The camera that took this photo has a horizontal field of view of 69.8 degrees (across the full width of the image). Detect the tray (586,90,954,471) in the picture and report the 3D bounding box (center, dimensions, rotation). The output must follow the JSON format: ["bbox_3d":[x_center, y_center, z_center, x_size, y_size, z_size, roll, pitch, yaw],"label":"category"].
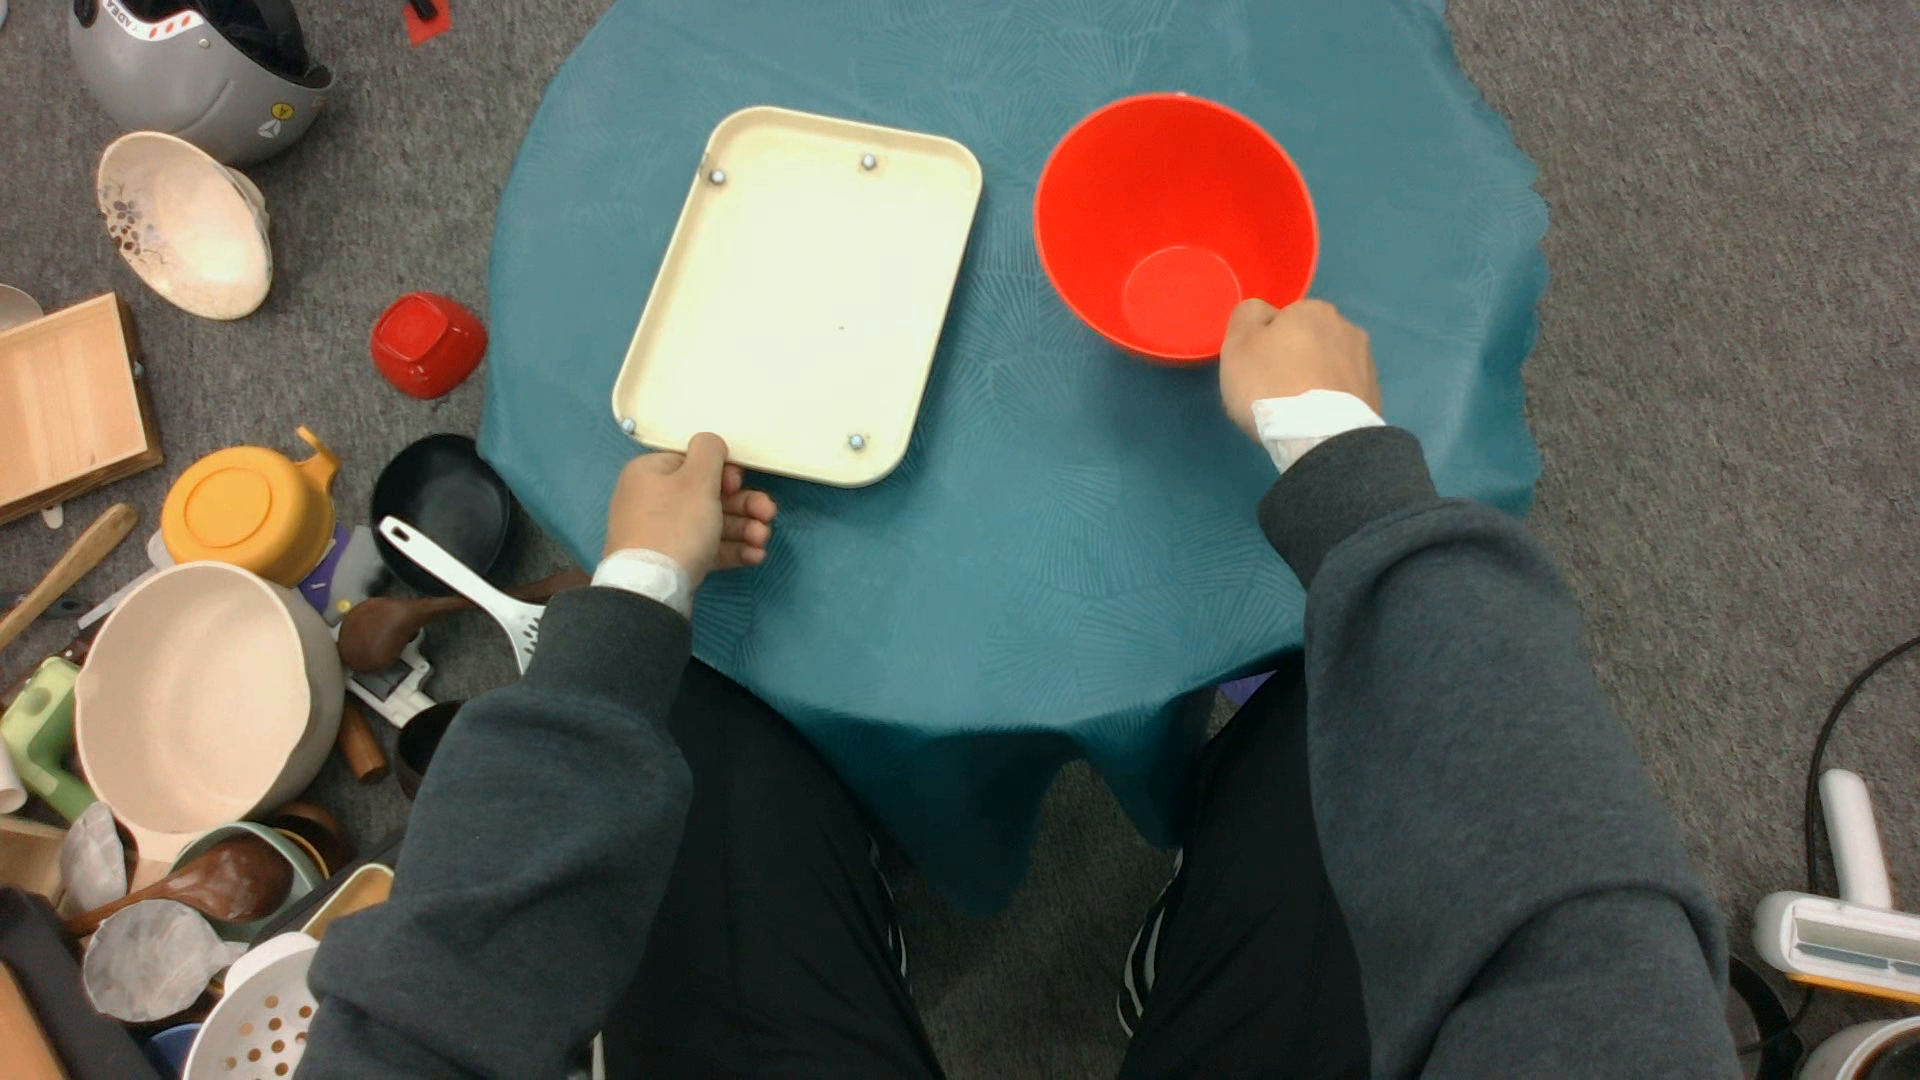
[{"bbox_3d":[-0.105,-0.154,0.797,0.171,0.017,0.240,12,67,5],"label":"tray"}]

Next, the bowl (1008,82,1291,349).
[{"bbox_3d":[0.101,-0.161,0.751,0.148,0.104,0.148,-1,73,3],"label":"bowl"}]
